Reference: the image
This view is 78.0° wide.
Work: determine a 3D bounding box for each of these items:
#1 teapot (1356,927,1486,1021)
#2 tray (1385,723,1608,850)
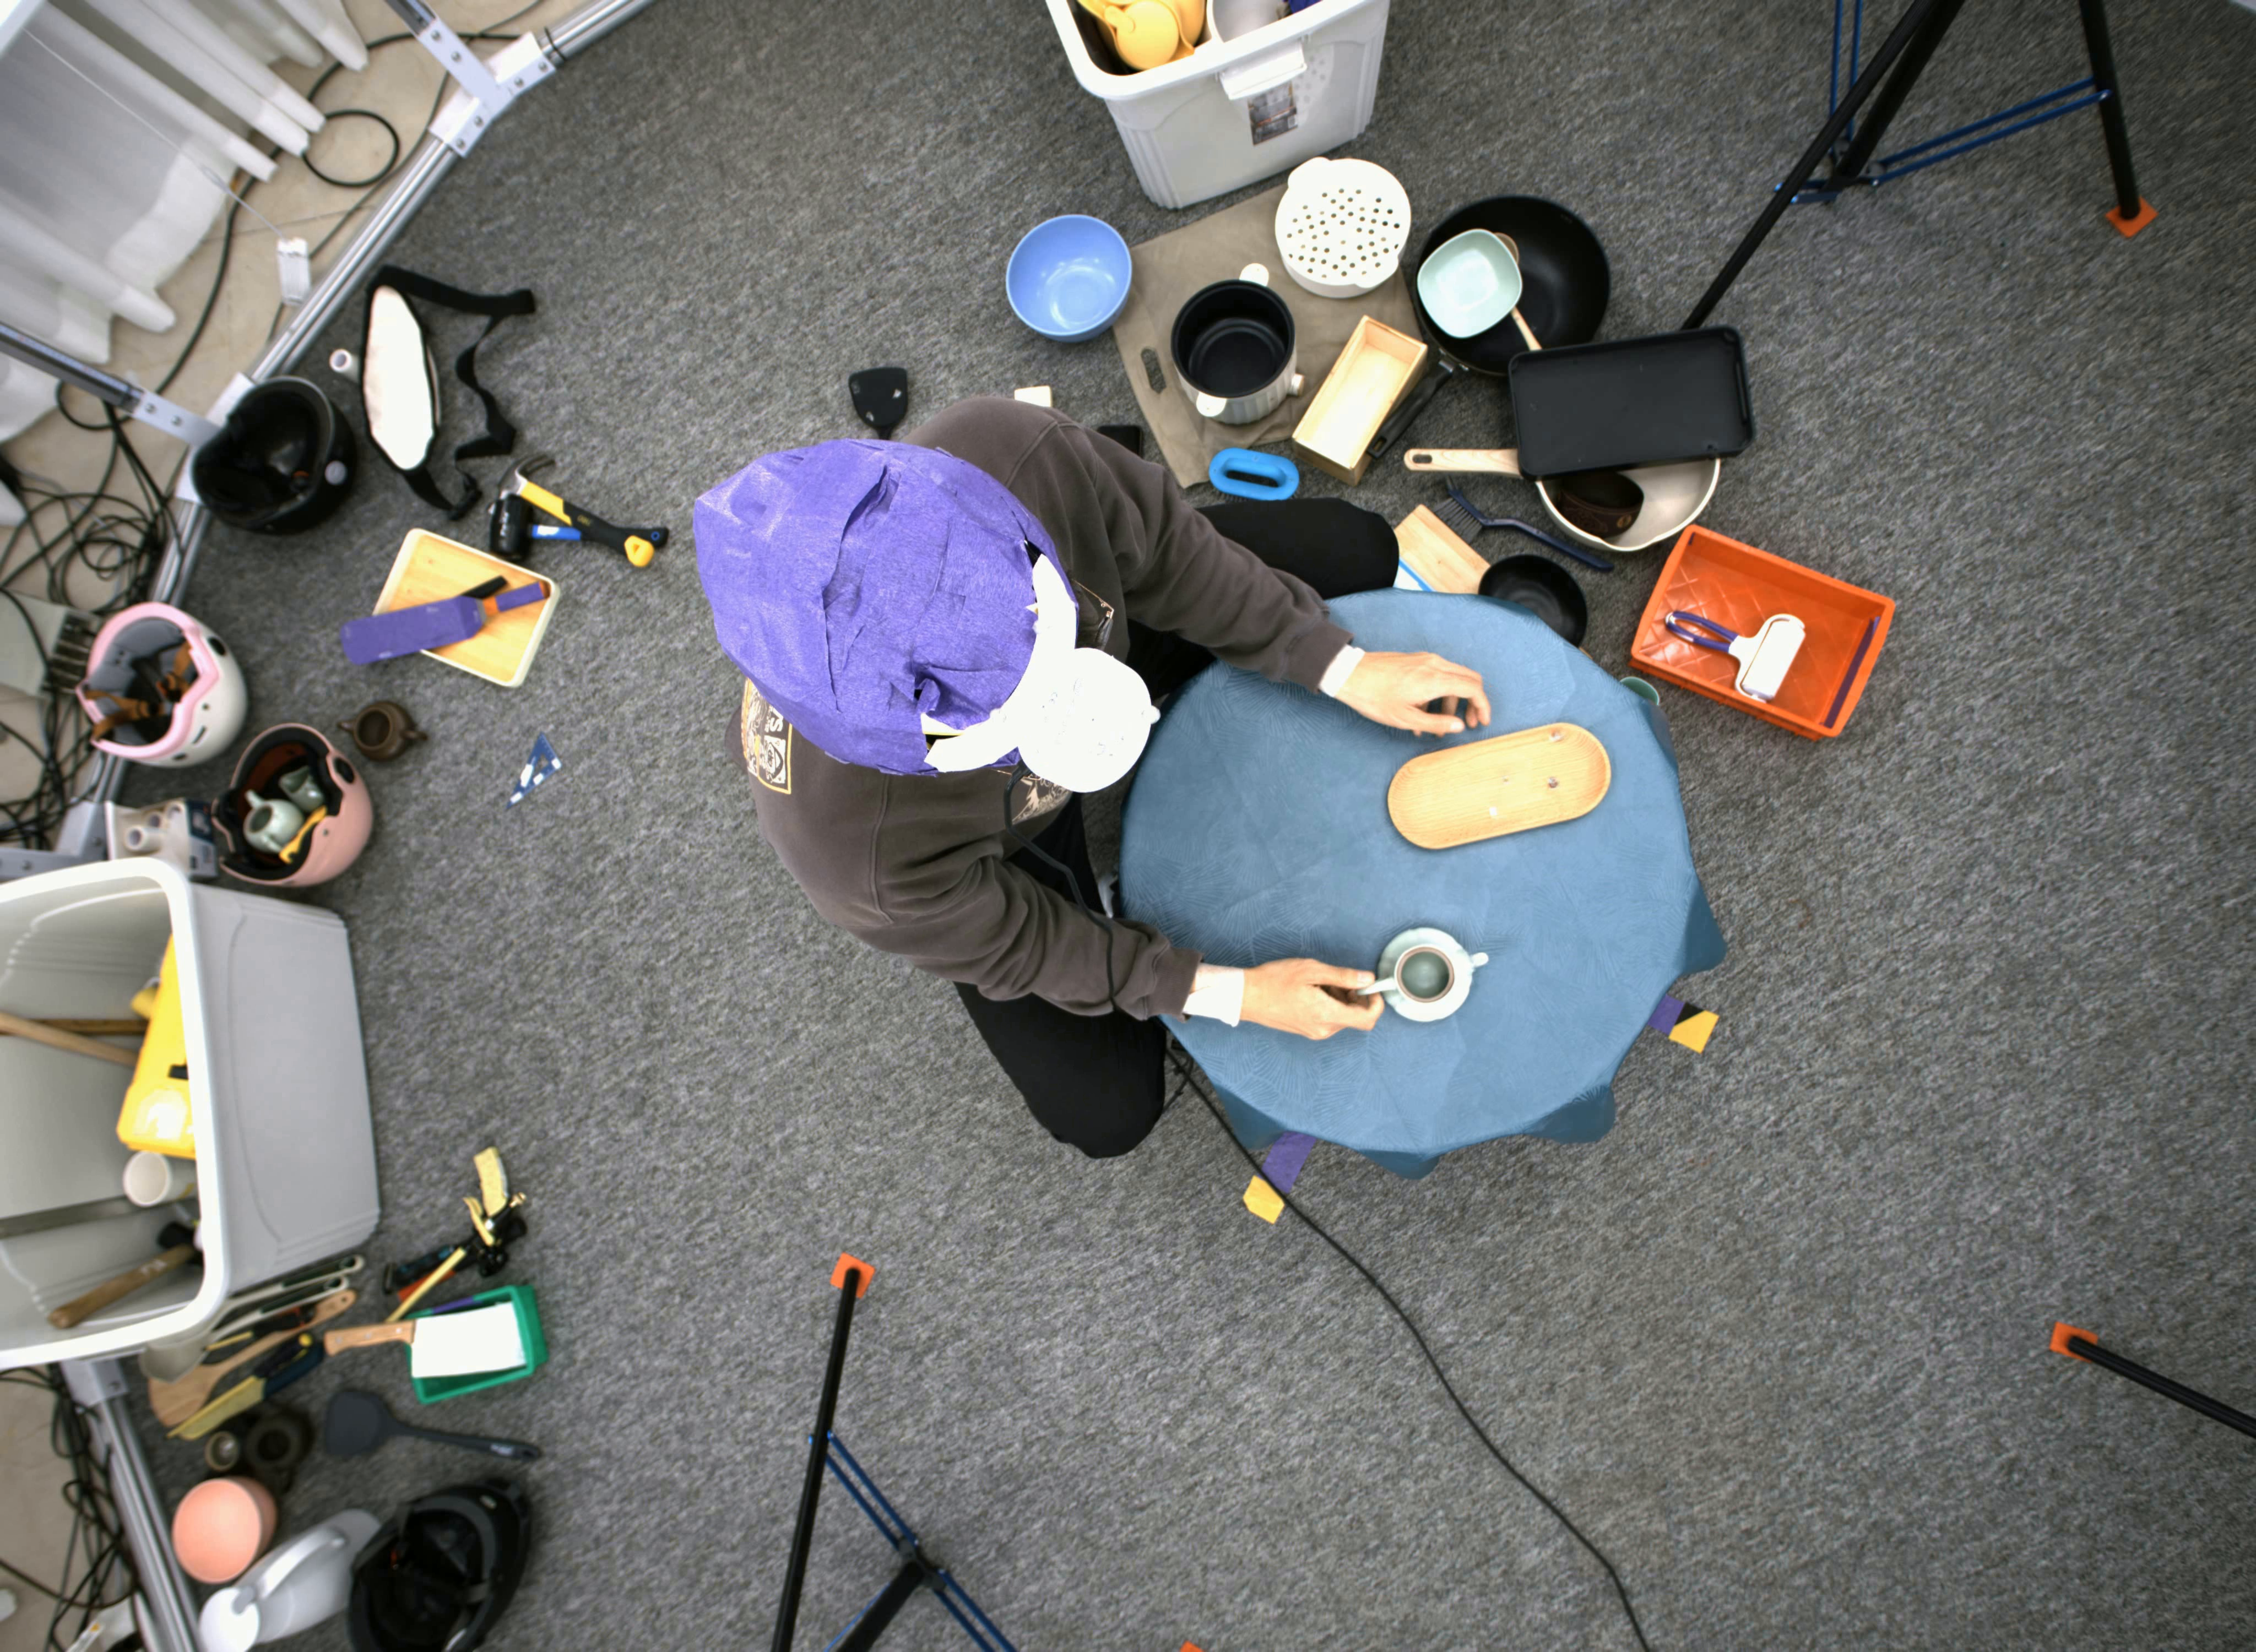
[{"bbox_3d":[0.299,0.152,1.418,0.138,0.061,0.096,-20,85,8],"label":"teapot"},{"bbox_3d":[0.383,-0.043,1.433,0.232,0.020,0.101,-15,84,11],"label":"tray"}]
